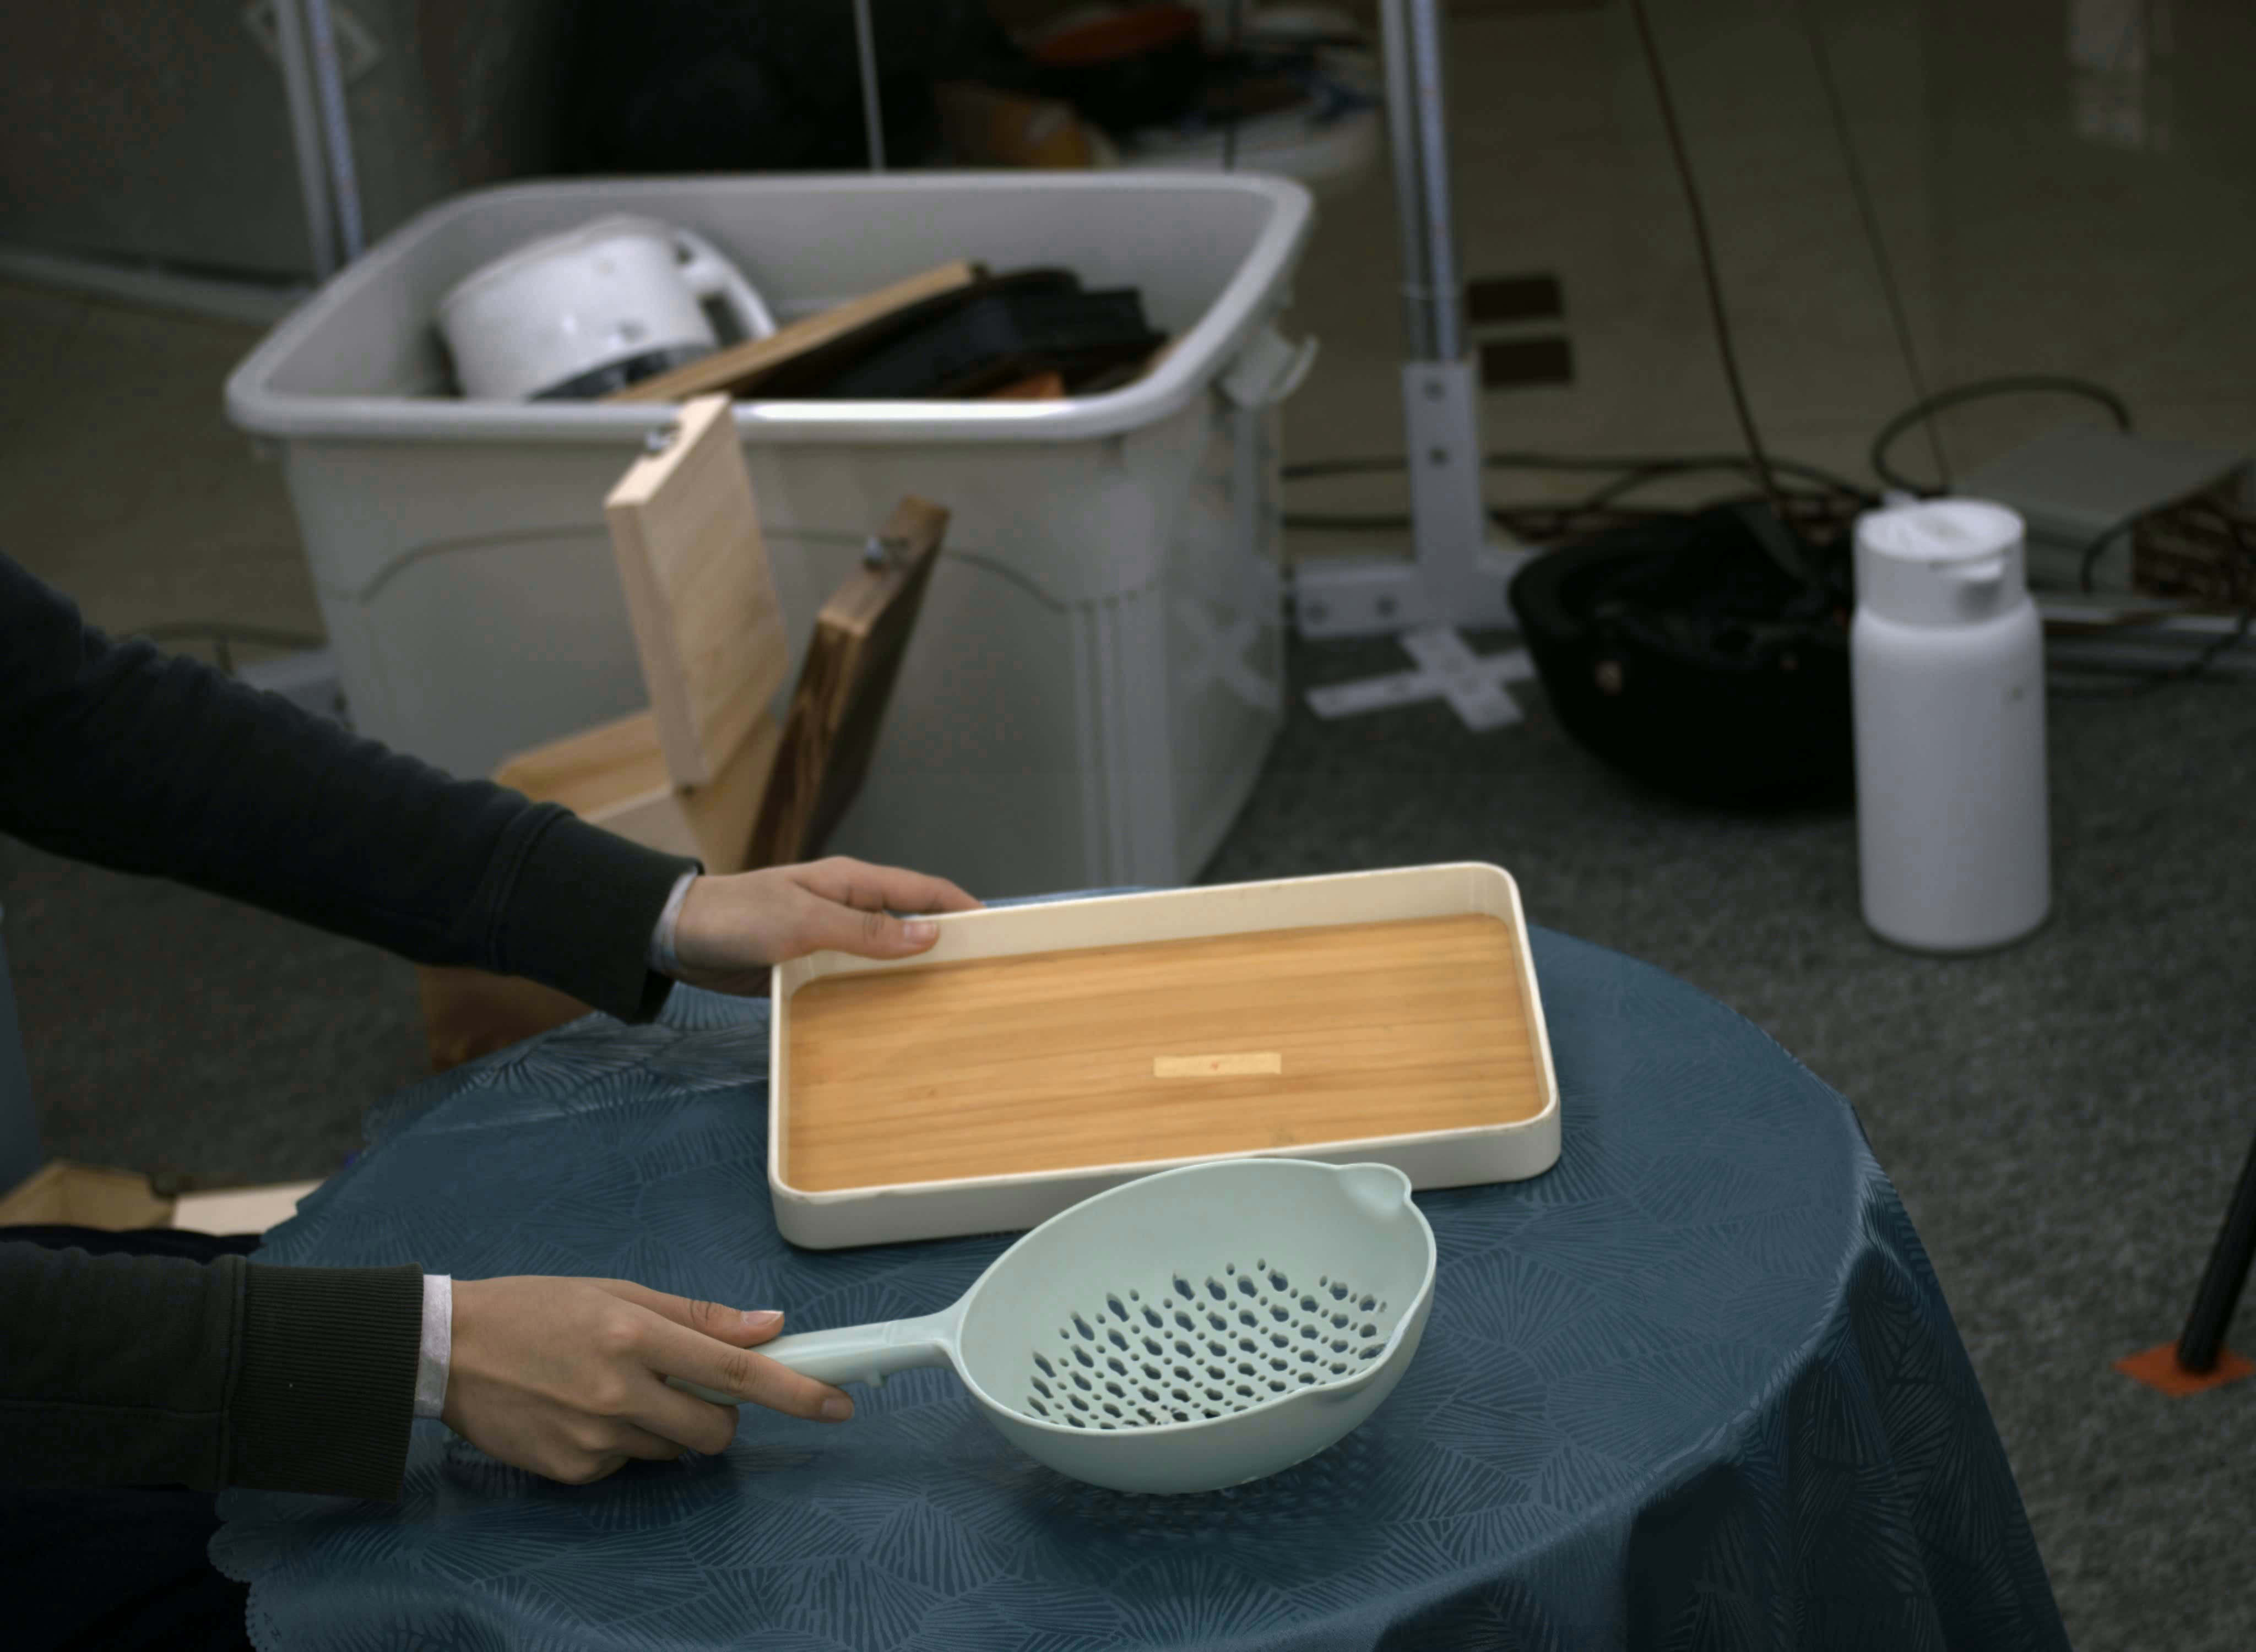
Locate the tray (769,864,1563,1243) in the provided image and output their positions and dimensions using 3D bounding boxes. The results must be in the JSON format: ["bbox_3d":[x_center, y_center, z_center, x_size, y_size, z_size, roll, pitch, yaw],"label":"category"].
[{"bbox_3d":[0.011,0.087,2.199,0.300,0.028,0.188,-5,31,1],"label":"tray"}]

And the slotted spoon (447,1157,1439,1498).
[{"bbox_3d":[-0.069,0.185,1.986,0.358,0.076,0.166,0,29,8],"label":"slotted spoon"}]
